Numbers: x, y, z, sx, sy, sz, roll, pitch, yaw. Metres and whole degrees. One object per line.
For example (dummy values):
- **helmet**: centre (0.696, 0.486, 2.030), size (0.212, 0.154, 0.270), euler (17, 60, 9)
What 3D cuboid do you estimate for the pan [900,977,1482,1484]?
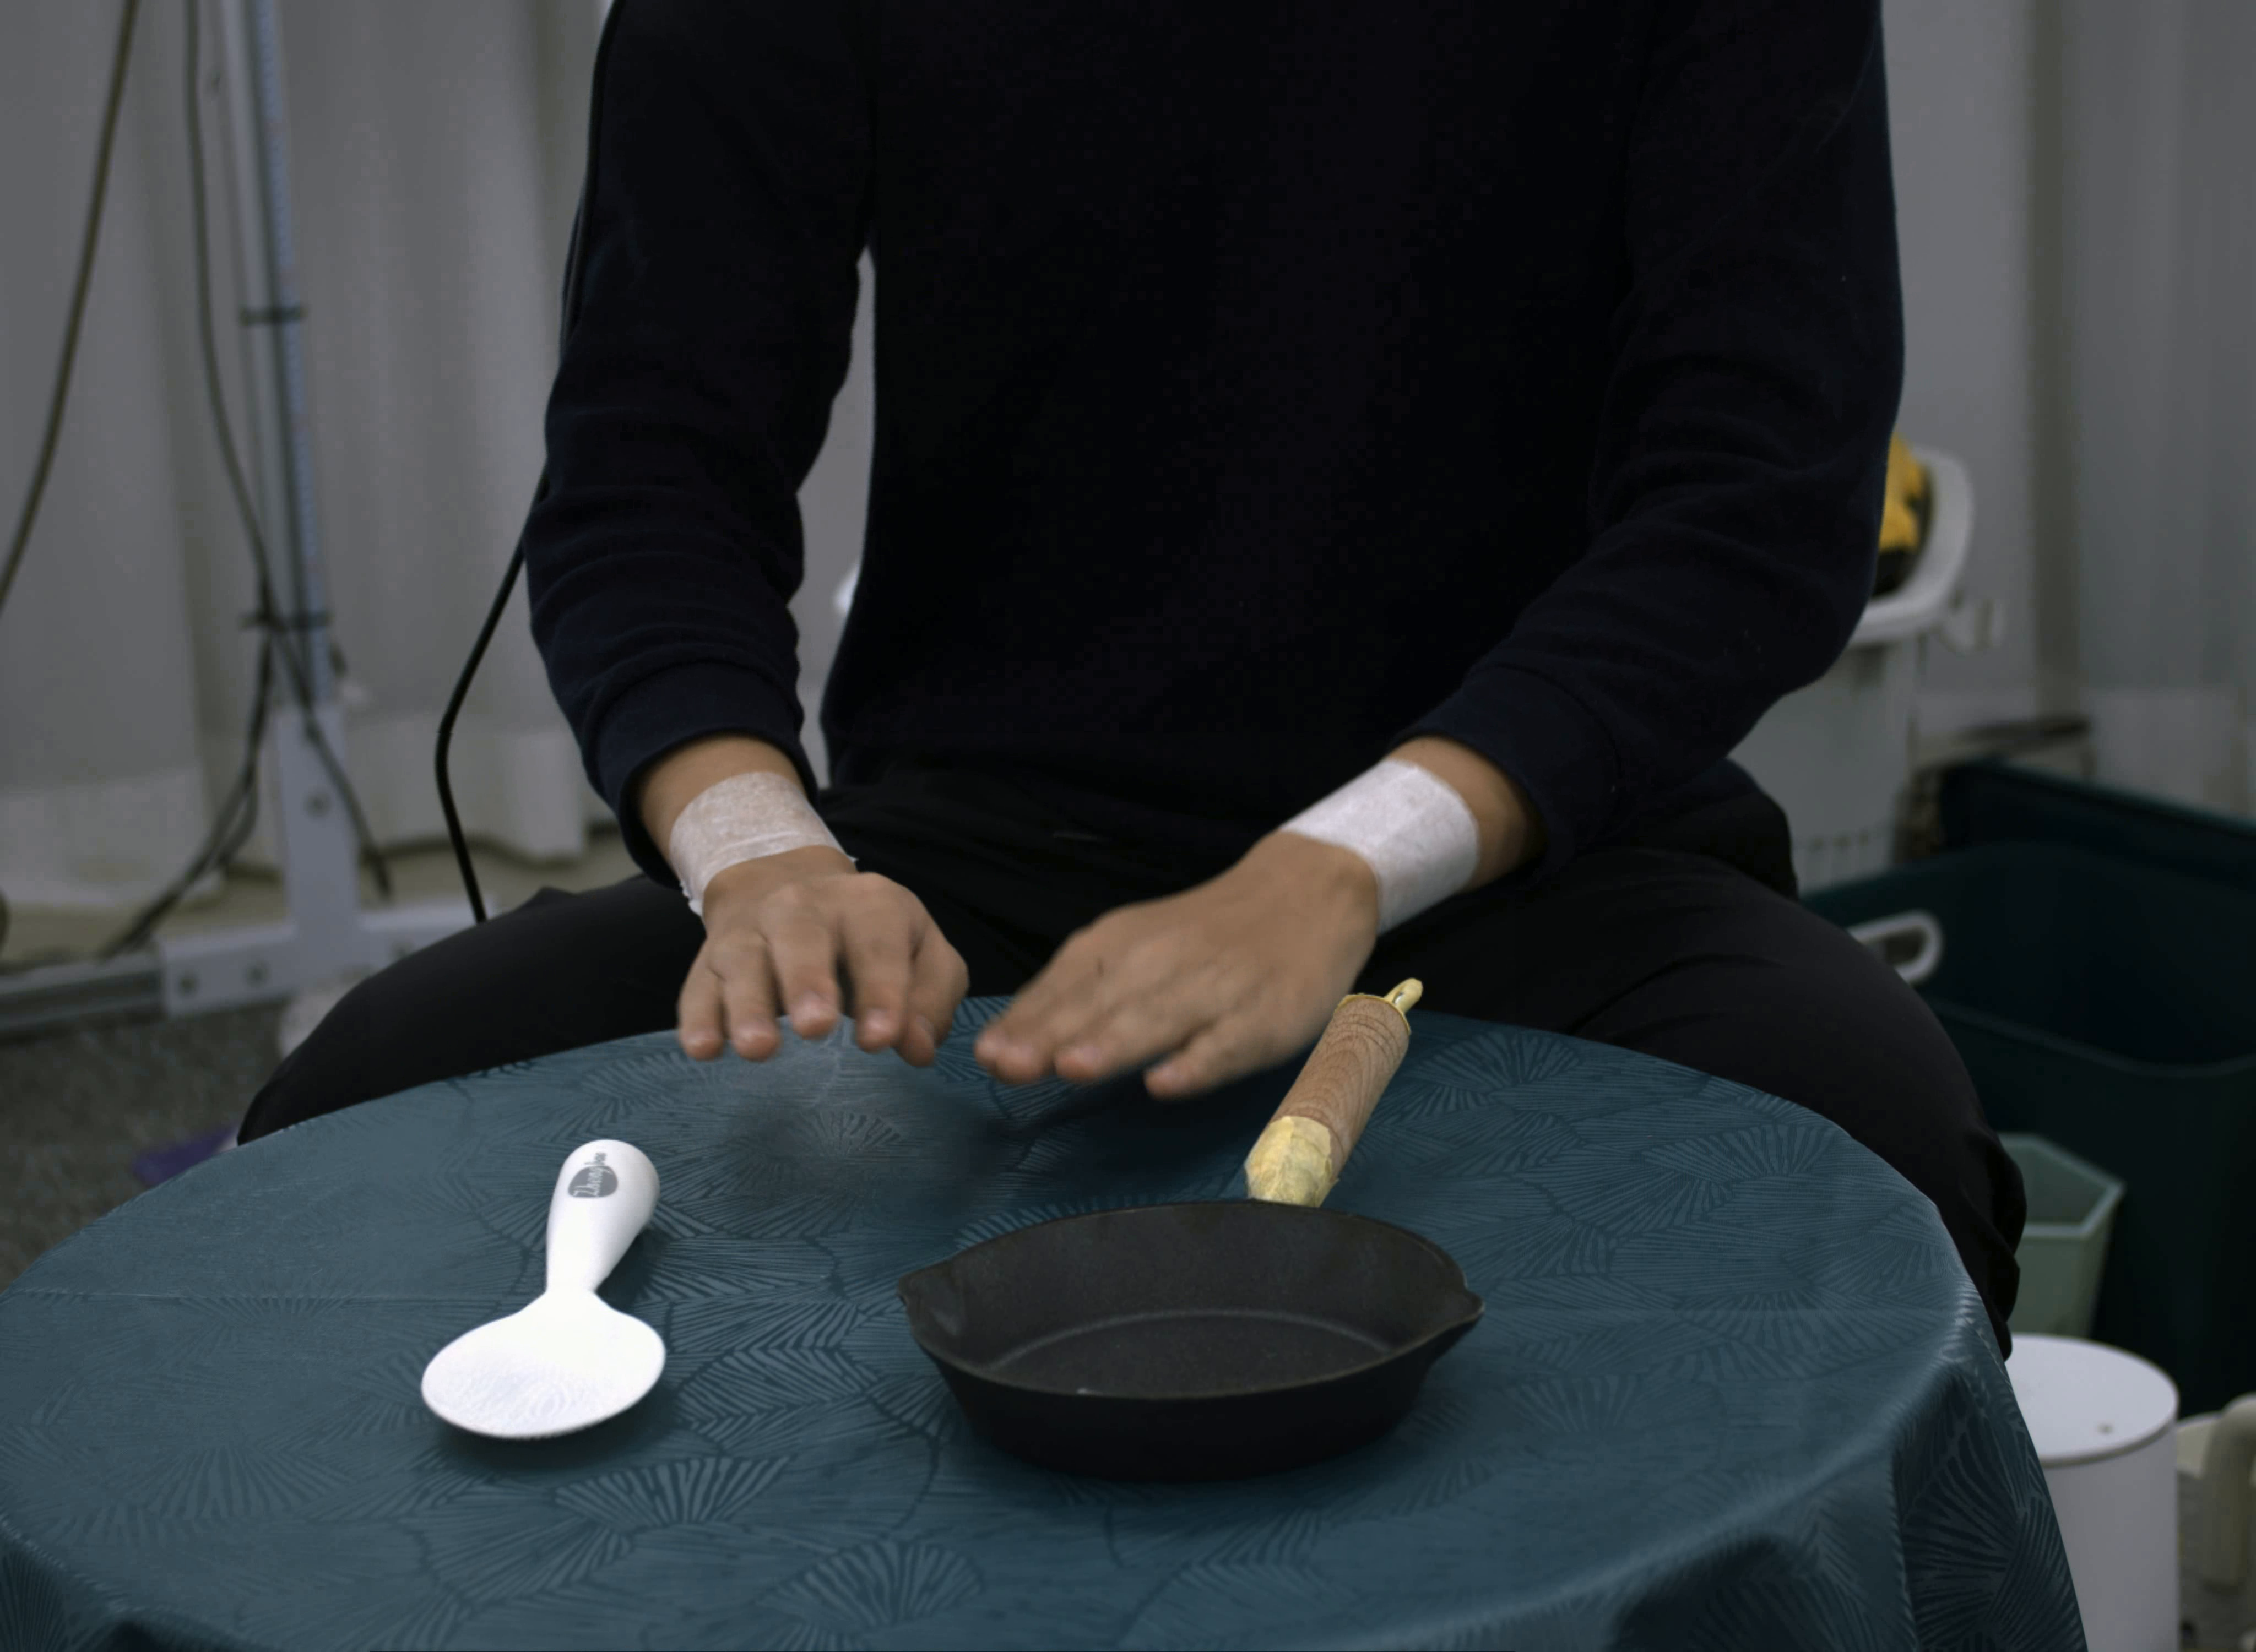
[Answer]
- **pan**: centre (0.042, 0.115, 1.608), size (0.169, 0.049, 0.325), euler (2, 17, 18)

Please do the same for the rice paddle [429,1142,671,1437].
- **rice paddle**: centre (-0.163, 0.138, 1.605), size (0.068, 0.029, 0.206), euler (-6, 15, 2)
